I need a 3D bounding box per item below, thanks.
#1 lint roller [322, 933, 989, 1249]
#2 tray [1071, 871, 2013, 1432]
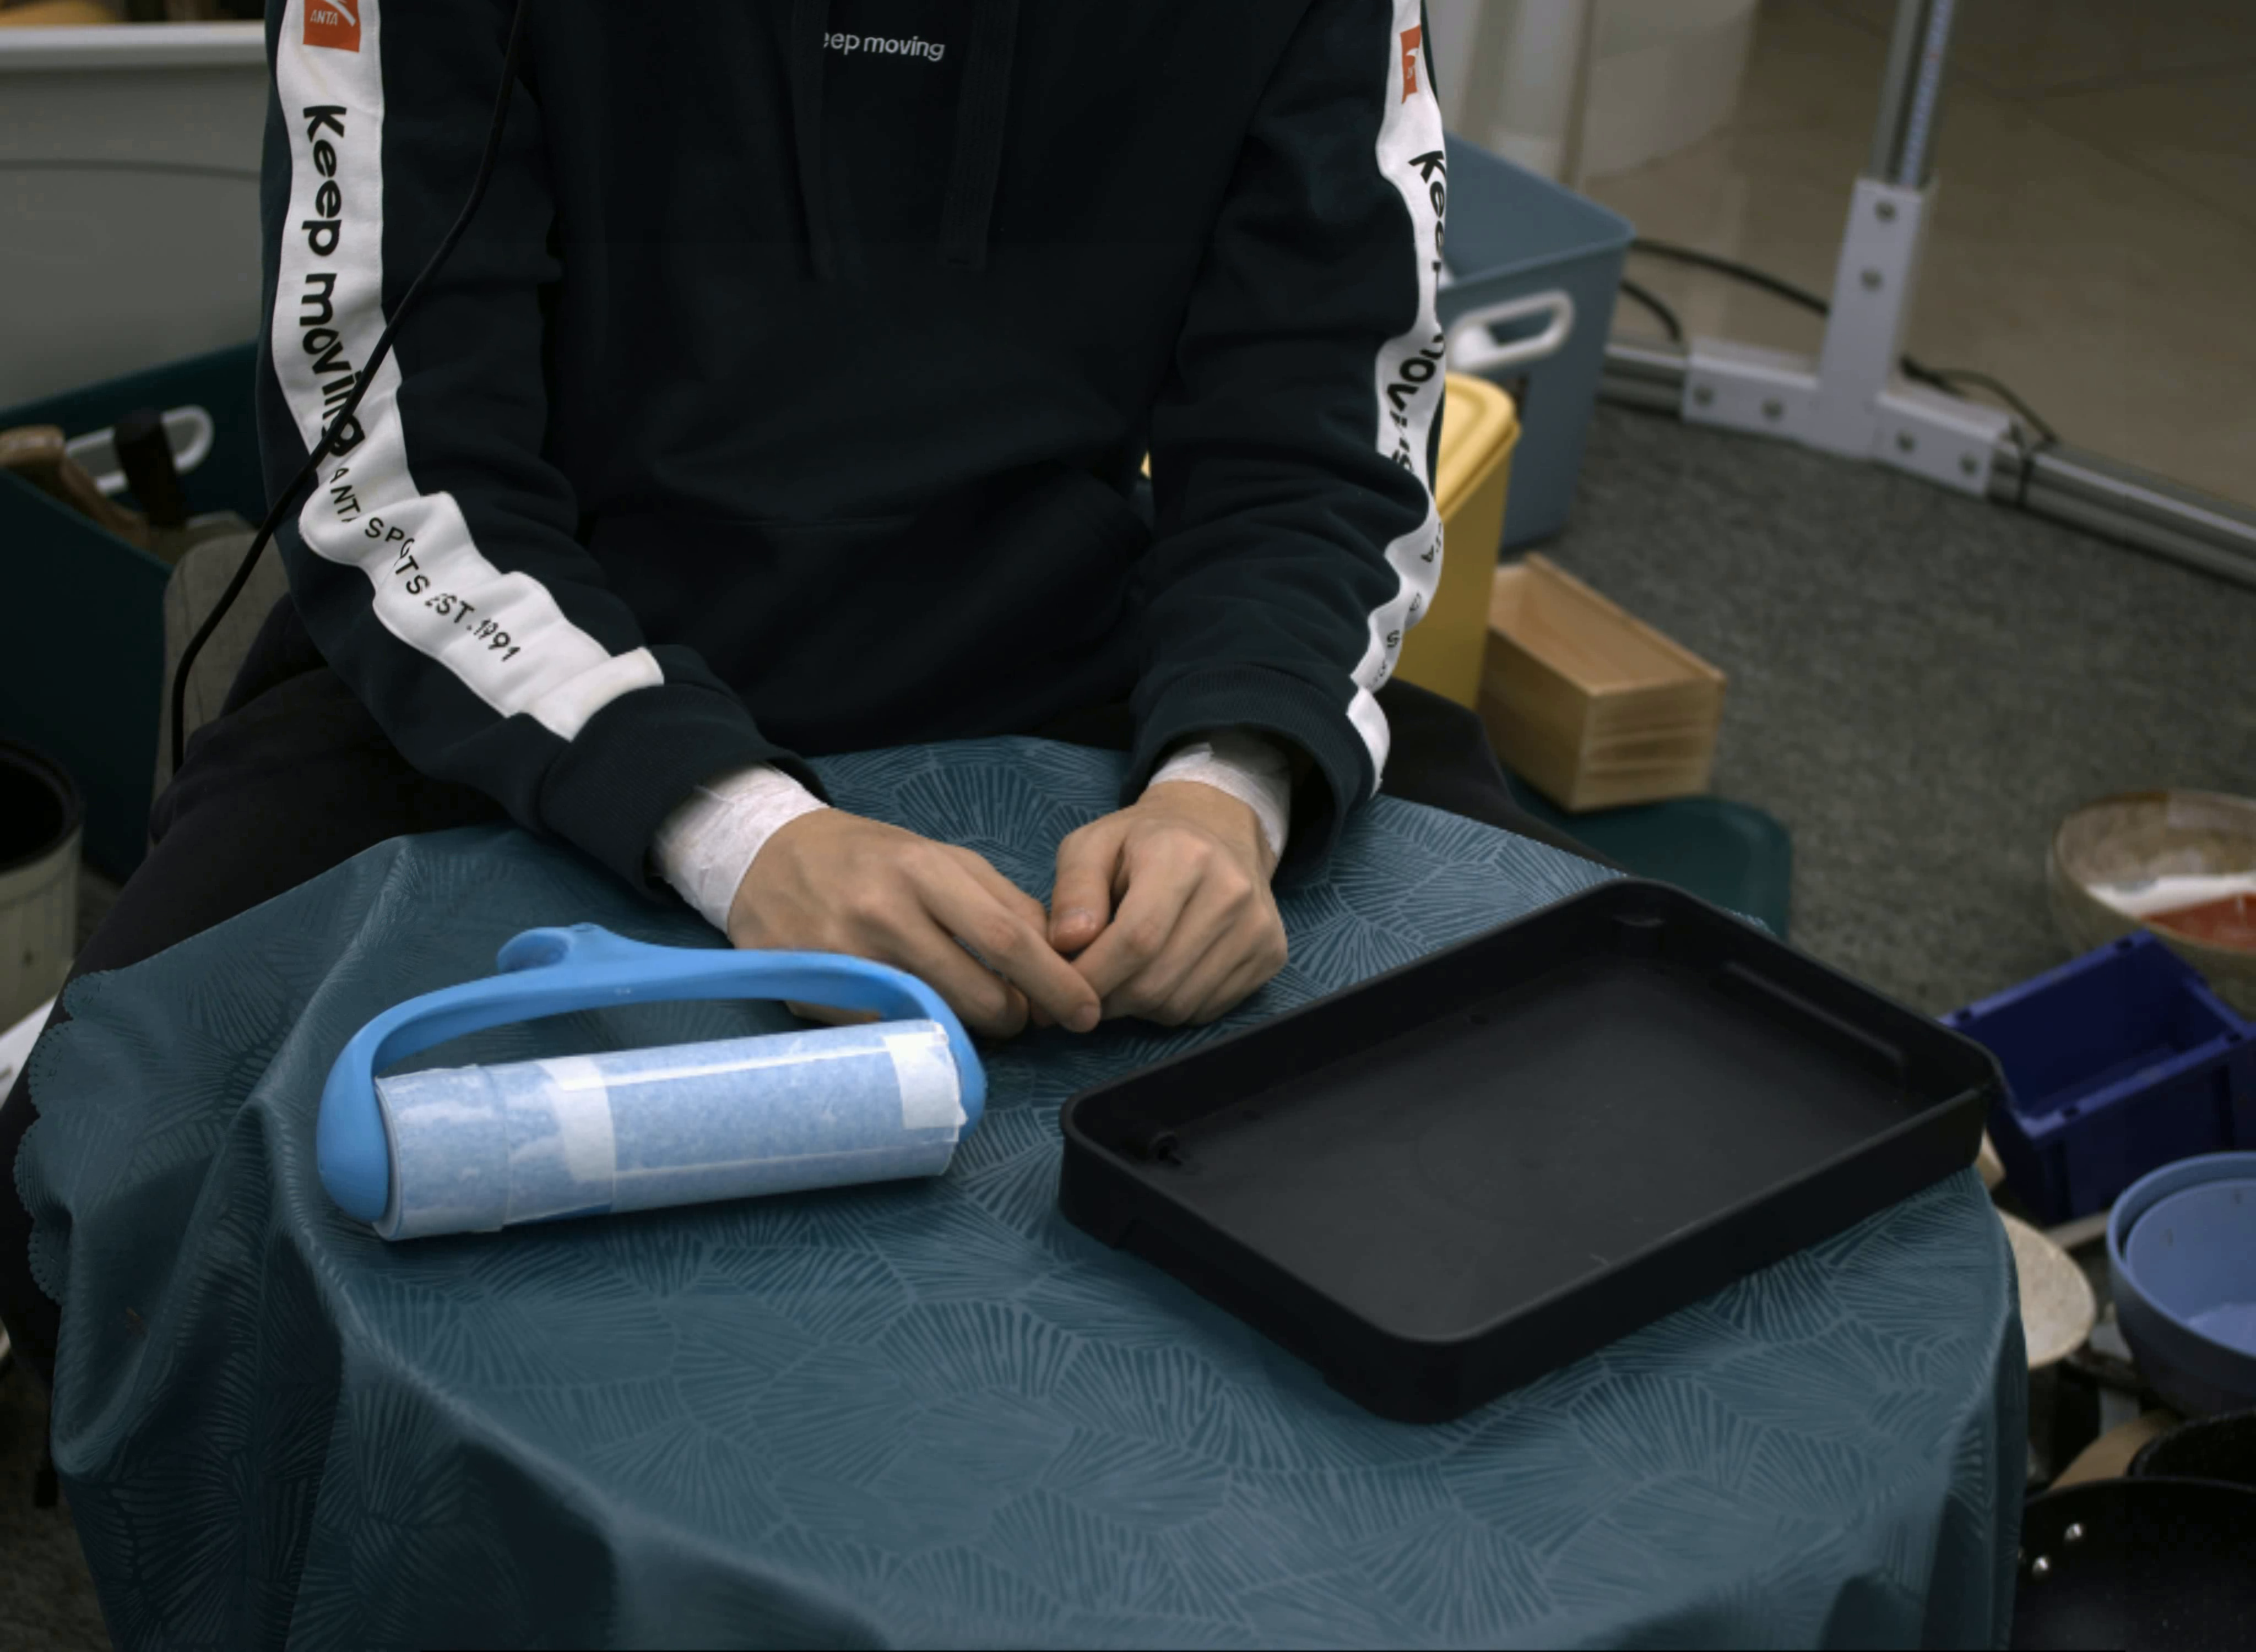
[{"bbox_3d":[-0.178,0.071,1.799,0.227,0.067,0.182,-9,32,-23],"label":"lint roller"},{"bbox_3d":[0.145,0.105,1.830,0.185,0.037,0.316,28,35,37],"label":"tray"}]
